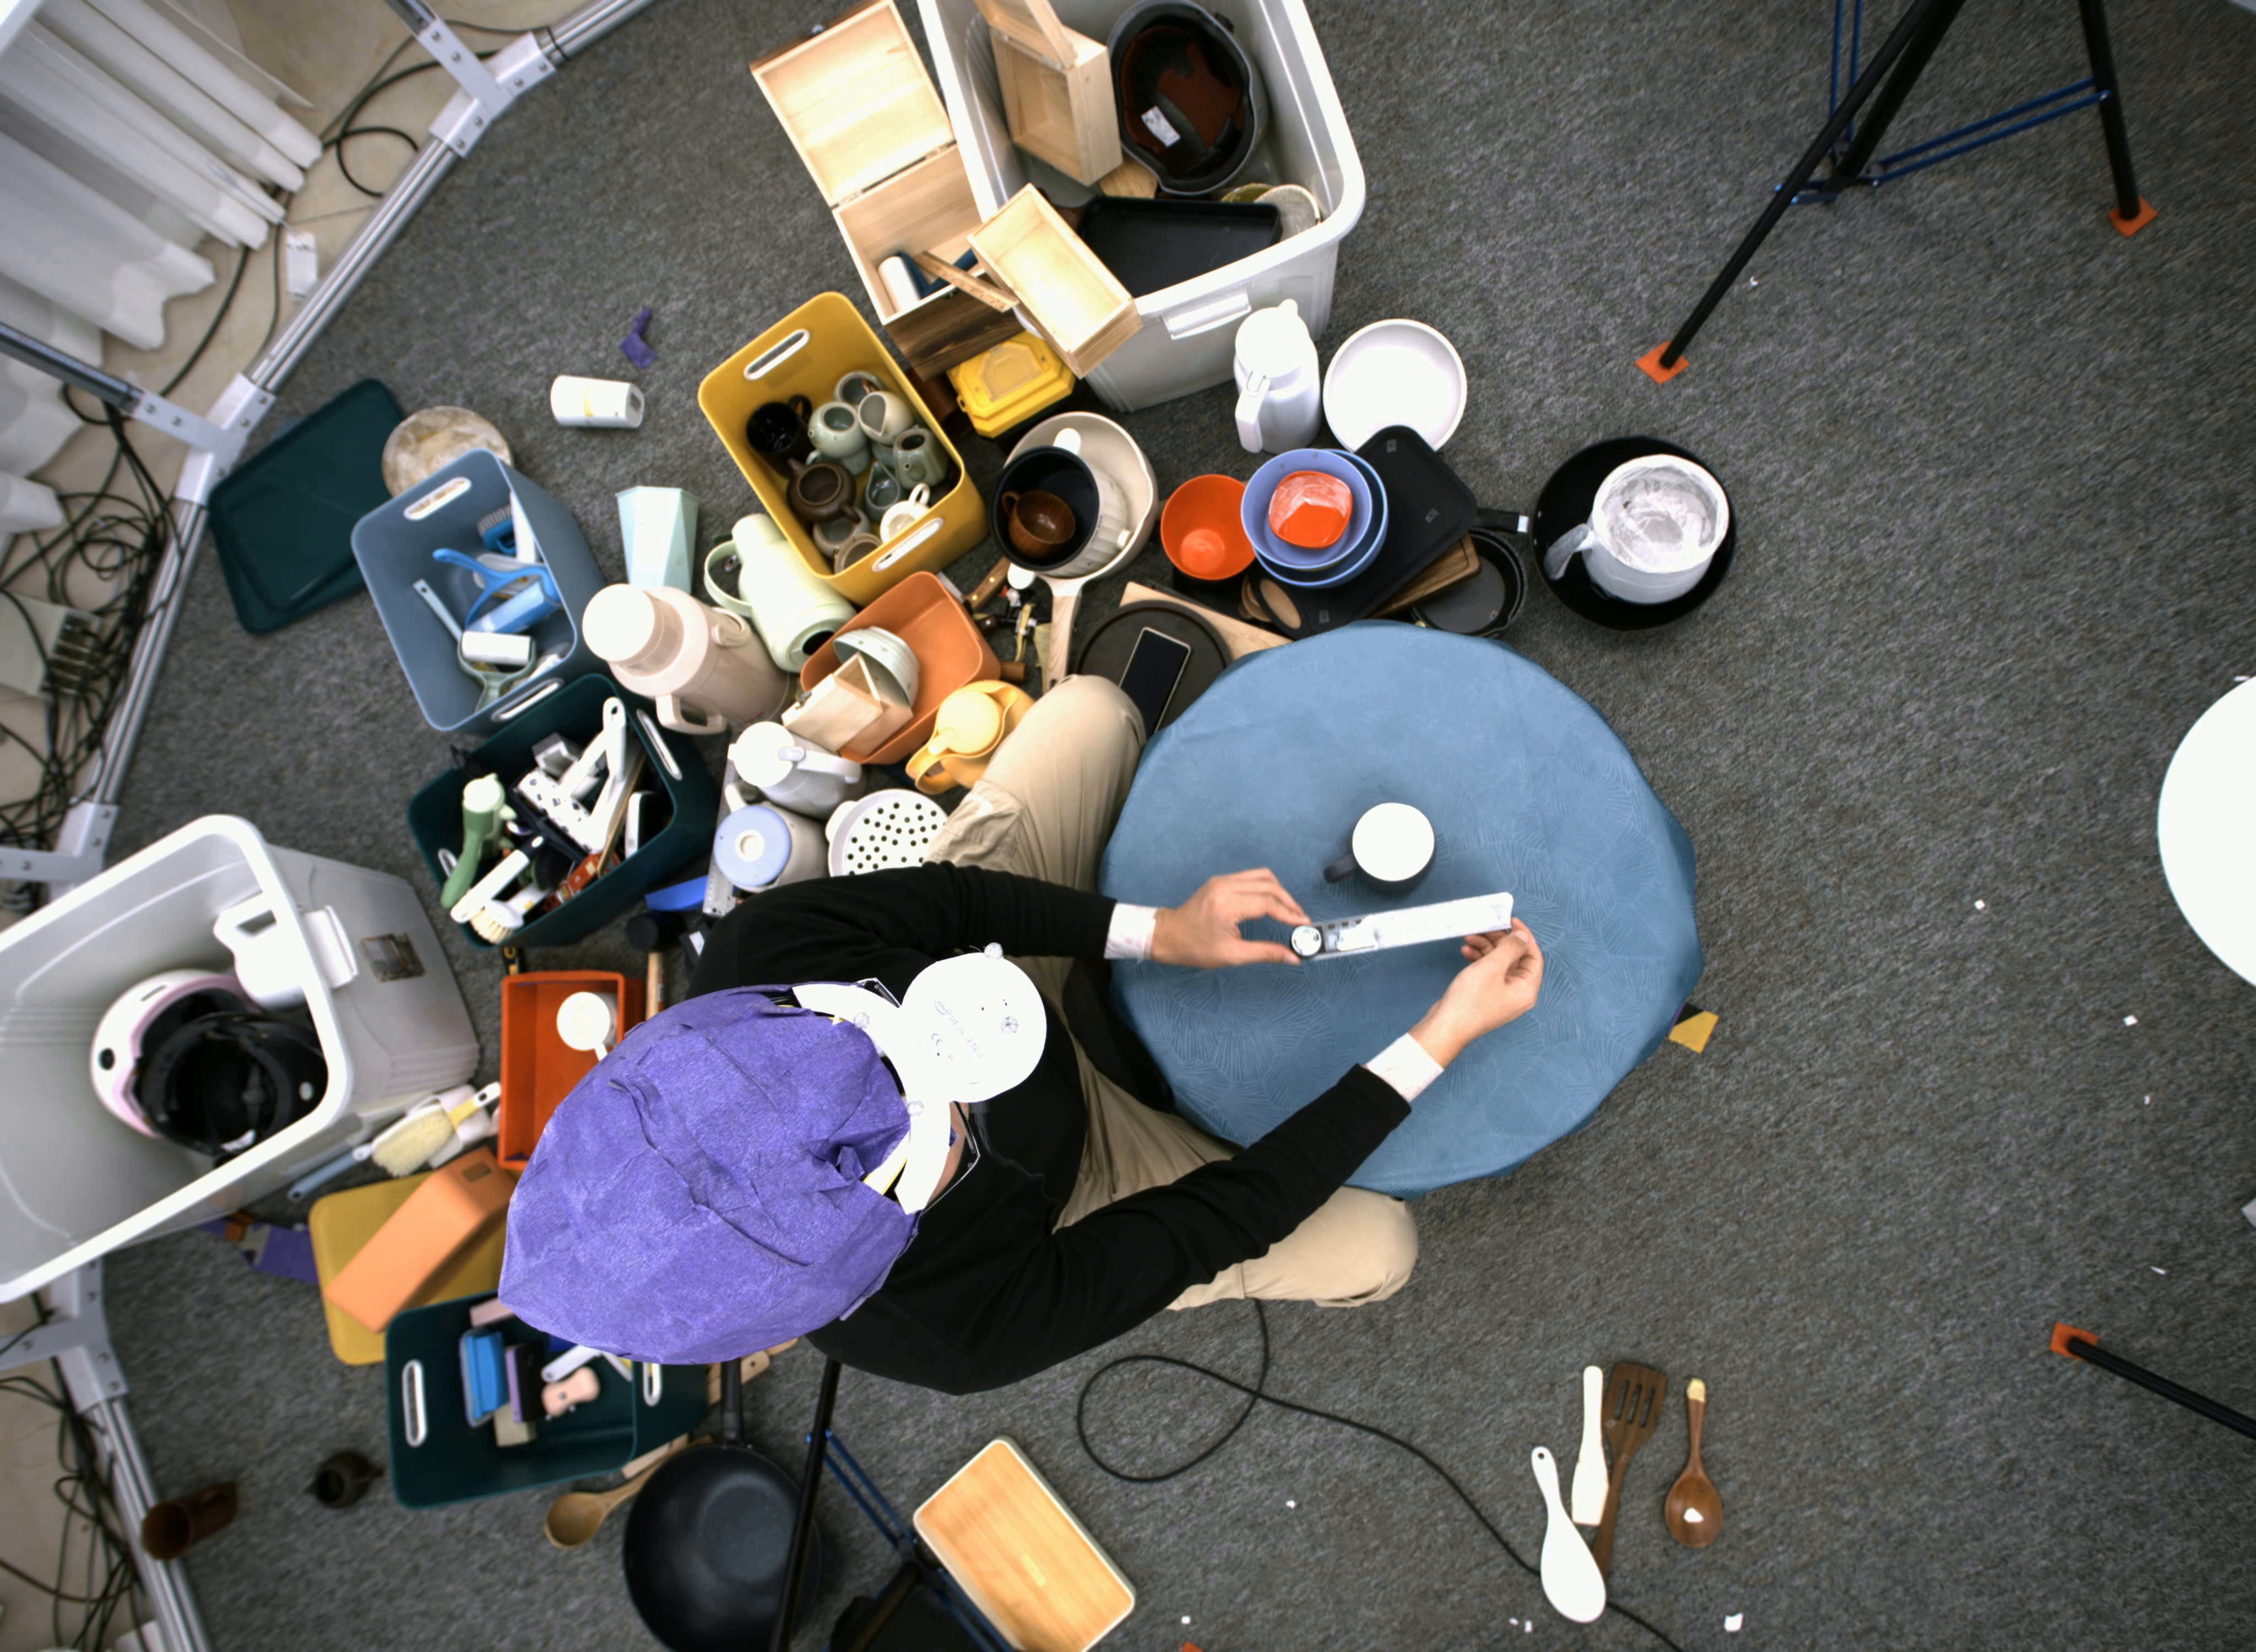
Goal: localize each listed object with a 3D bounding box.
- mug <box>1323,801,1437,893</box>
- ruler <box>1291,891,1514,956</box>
[{"bbox_3d":[0.257,0.024,1.418,0.124,0.090,0.093,-24,81,7],"label":"mug"},{"bbox_3d":[0.268,0.095,1.354,0.219,0.024,0.038,-9,85,8],"label":"ruler"}]
